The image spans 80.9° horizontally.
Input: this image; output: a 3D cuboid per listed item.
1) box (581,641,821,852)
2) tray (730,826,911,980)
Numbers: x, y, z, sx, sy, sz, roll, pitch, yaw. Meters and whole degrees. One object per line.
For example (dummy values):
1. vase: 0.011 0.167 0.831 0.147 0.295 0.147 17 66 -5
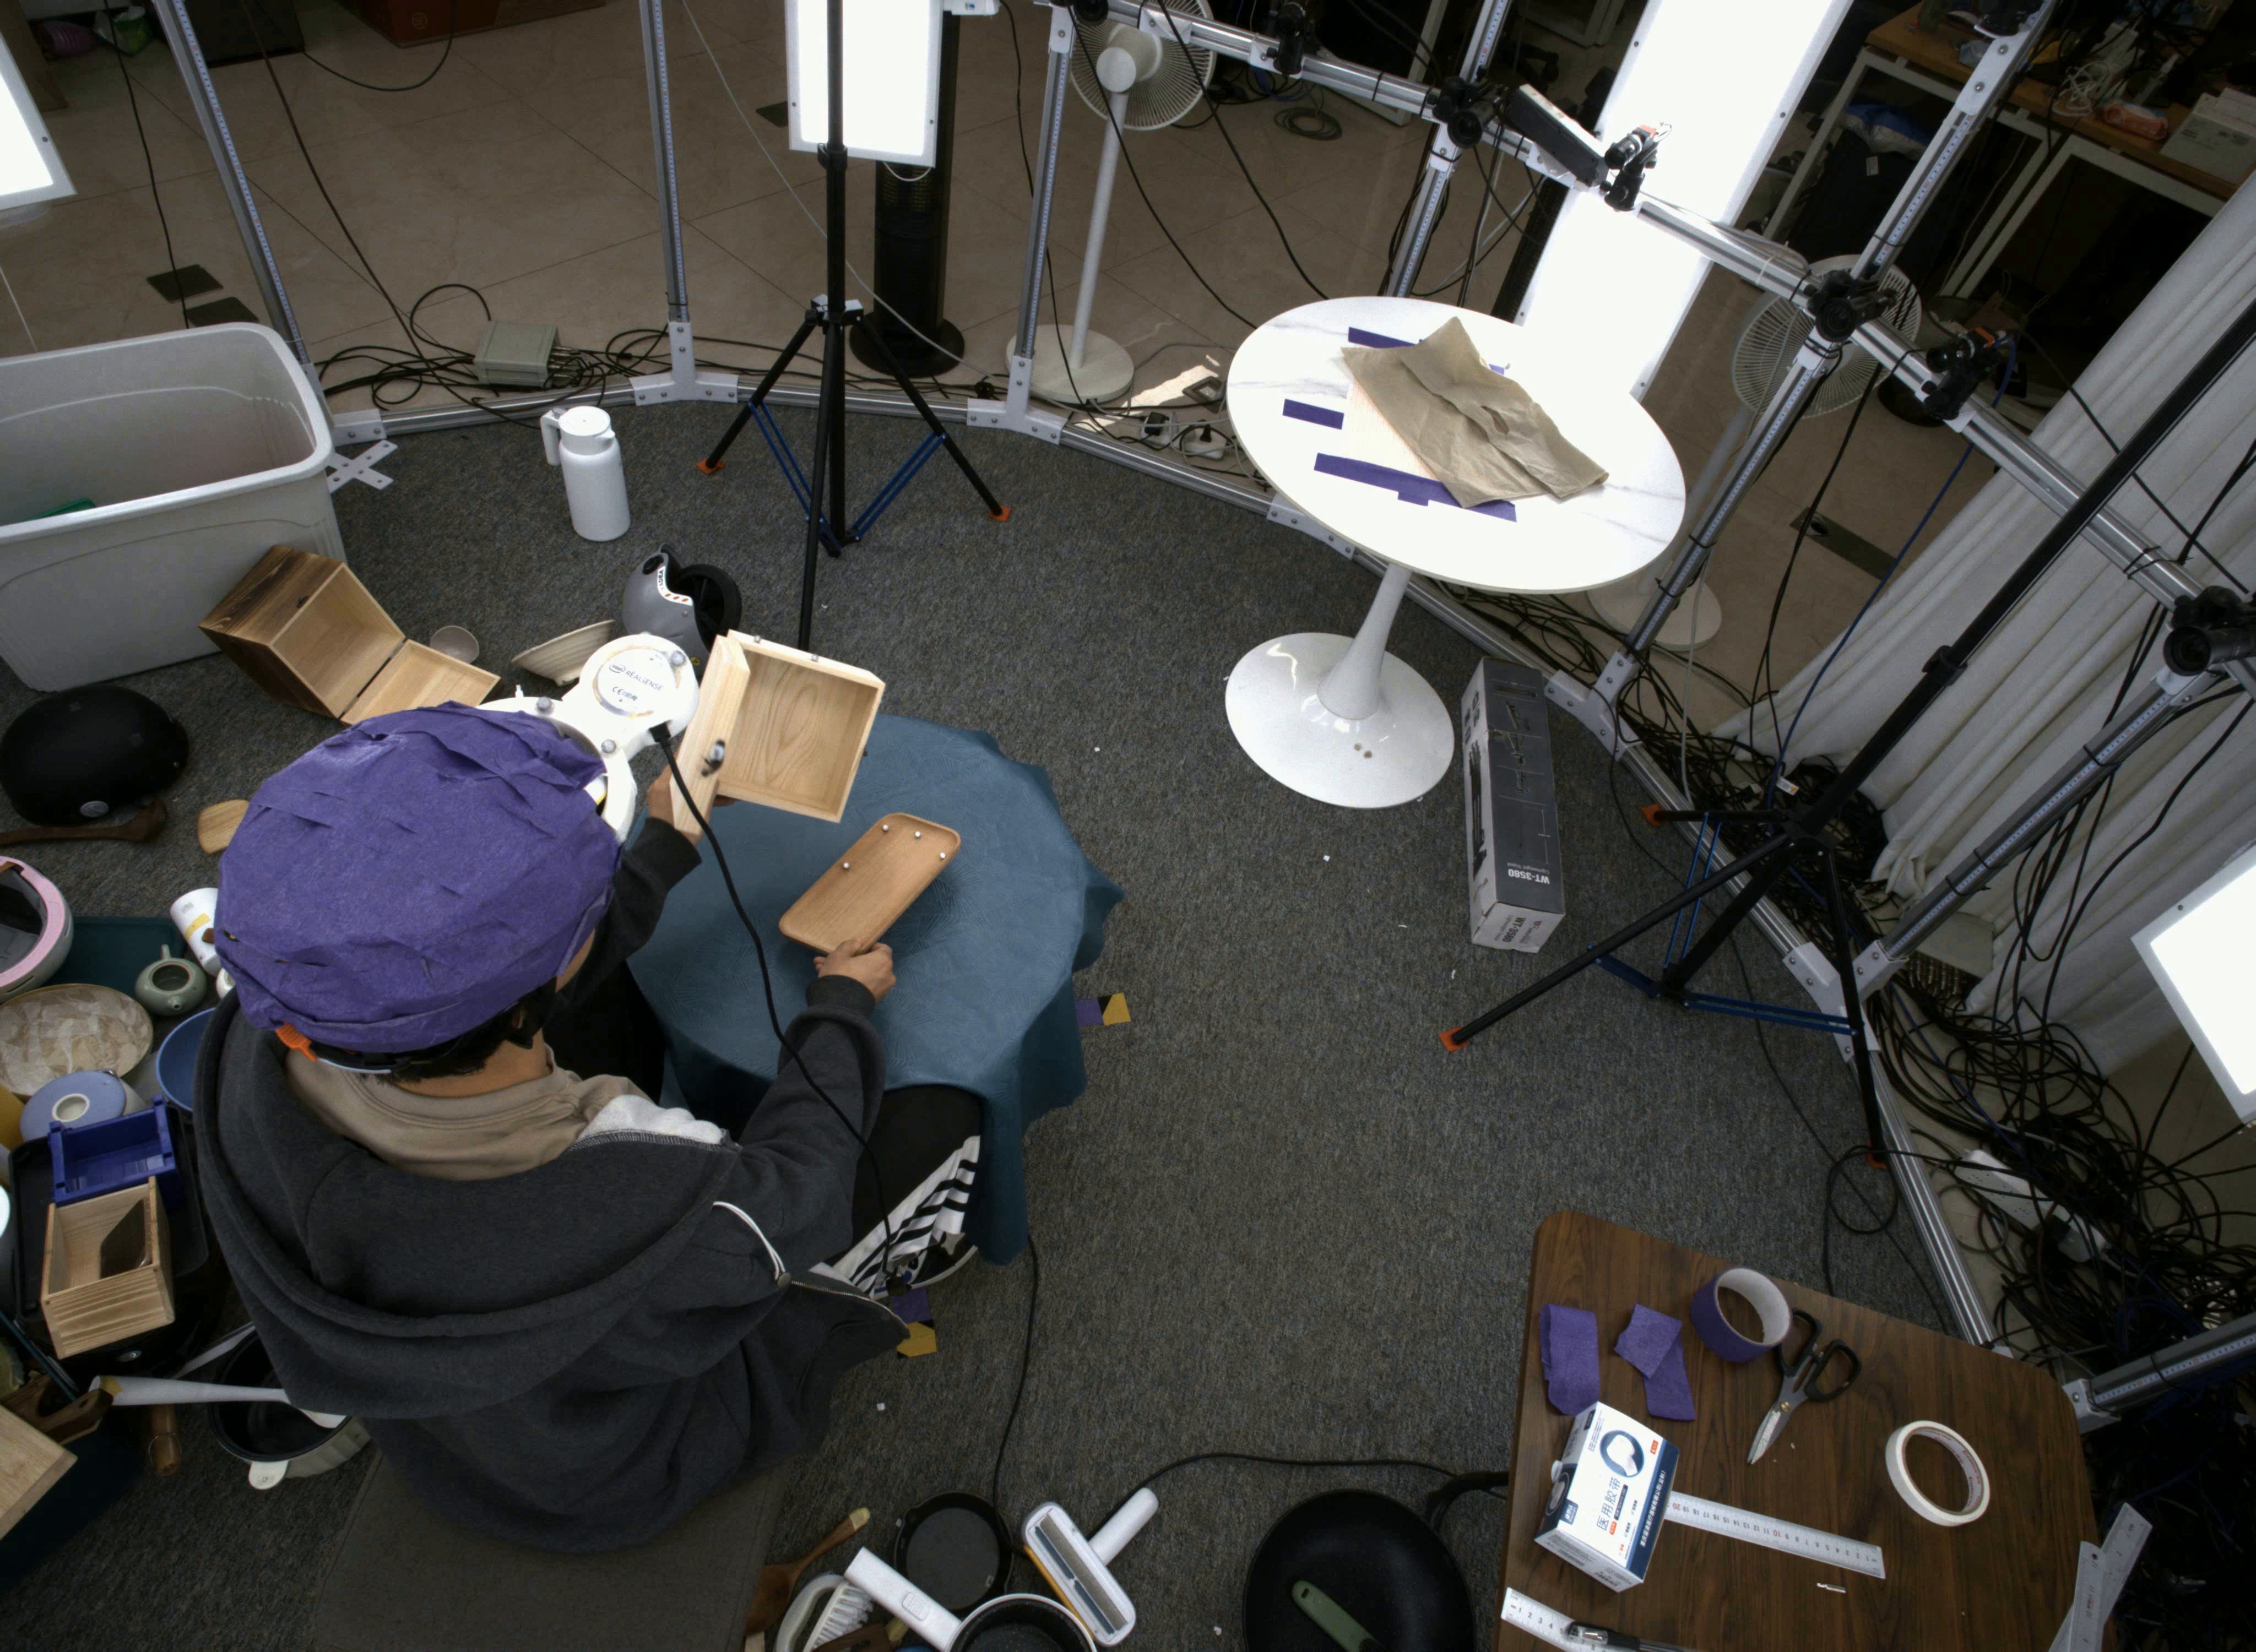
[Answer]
1. box: -0.468 -0.081 1.425 0.271 0.184 0.244 11 13 -32
2. tray: -0.377 0.090 1.606 0.126 0.024 0.249 14 45 22
